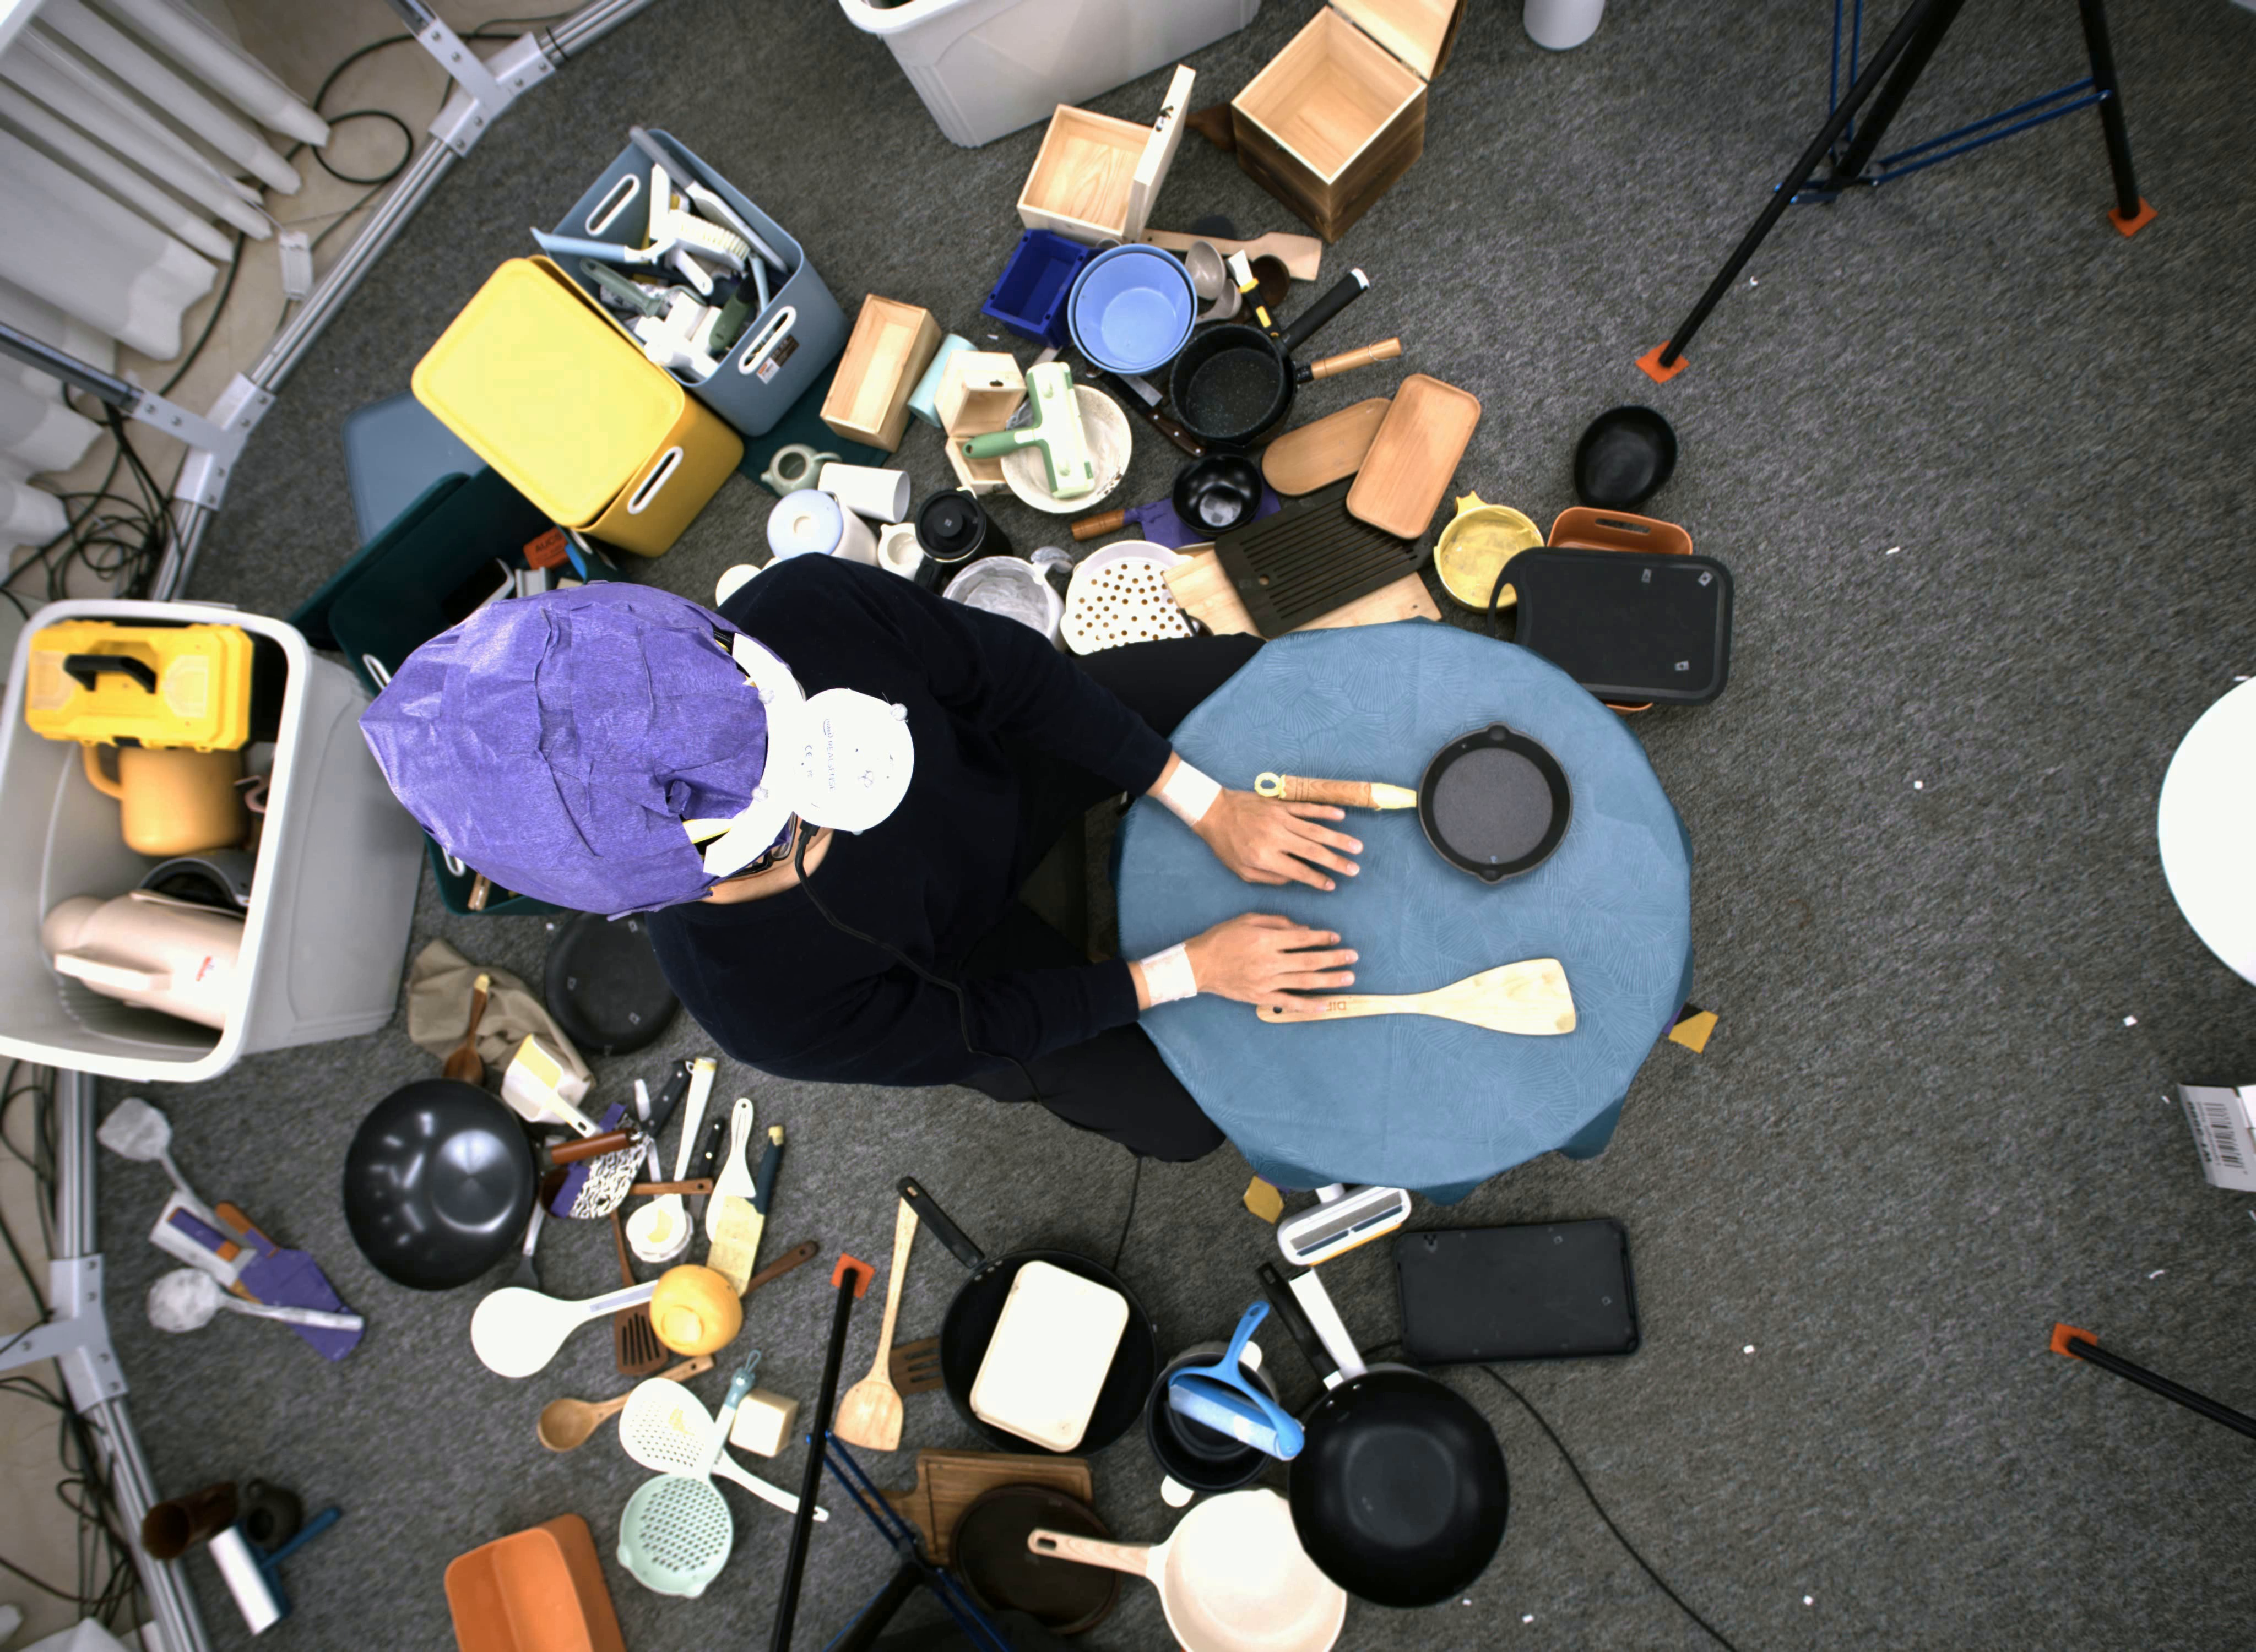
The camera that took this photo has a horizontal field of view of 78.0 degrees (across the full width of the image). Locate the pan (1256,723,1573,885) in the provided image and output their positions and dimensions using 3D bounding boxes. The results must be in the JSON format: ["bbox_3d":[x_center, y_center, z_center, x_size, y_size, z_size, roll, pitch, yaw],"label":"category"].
[{"bbox_3d":[0.296,-0.033,1.435,0.325,0.049,0.168,6,88,9],"label":"pan"}]

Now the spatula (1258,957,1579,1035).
[{"bbox_3d":[0.298,0.182,1.440,0.329,0.016,0.079,-4,85,10],"label":"spatula"}]
